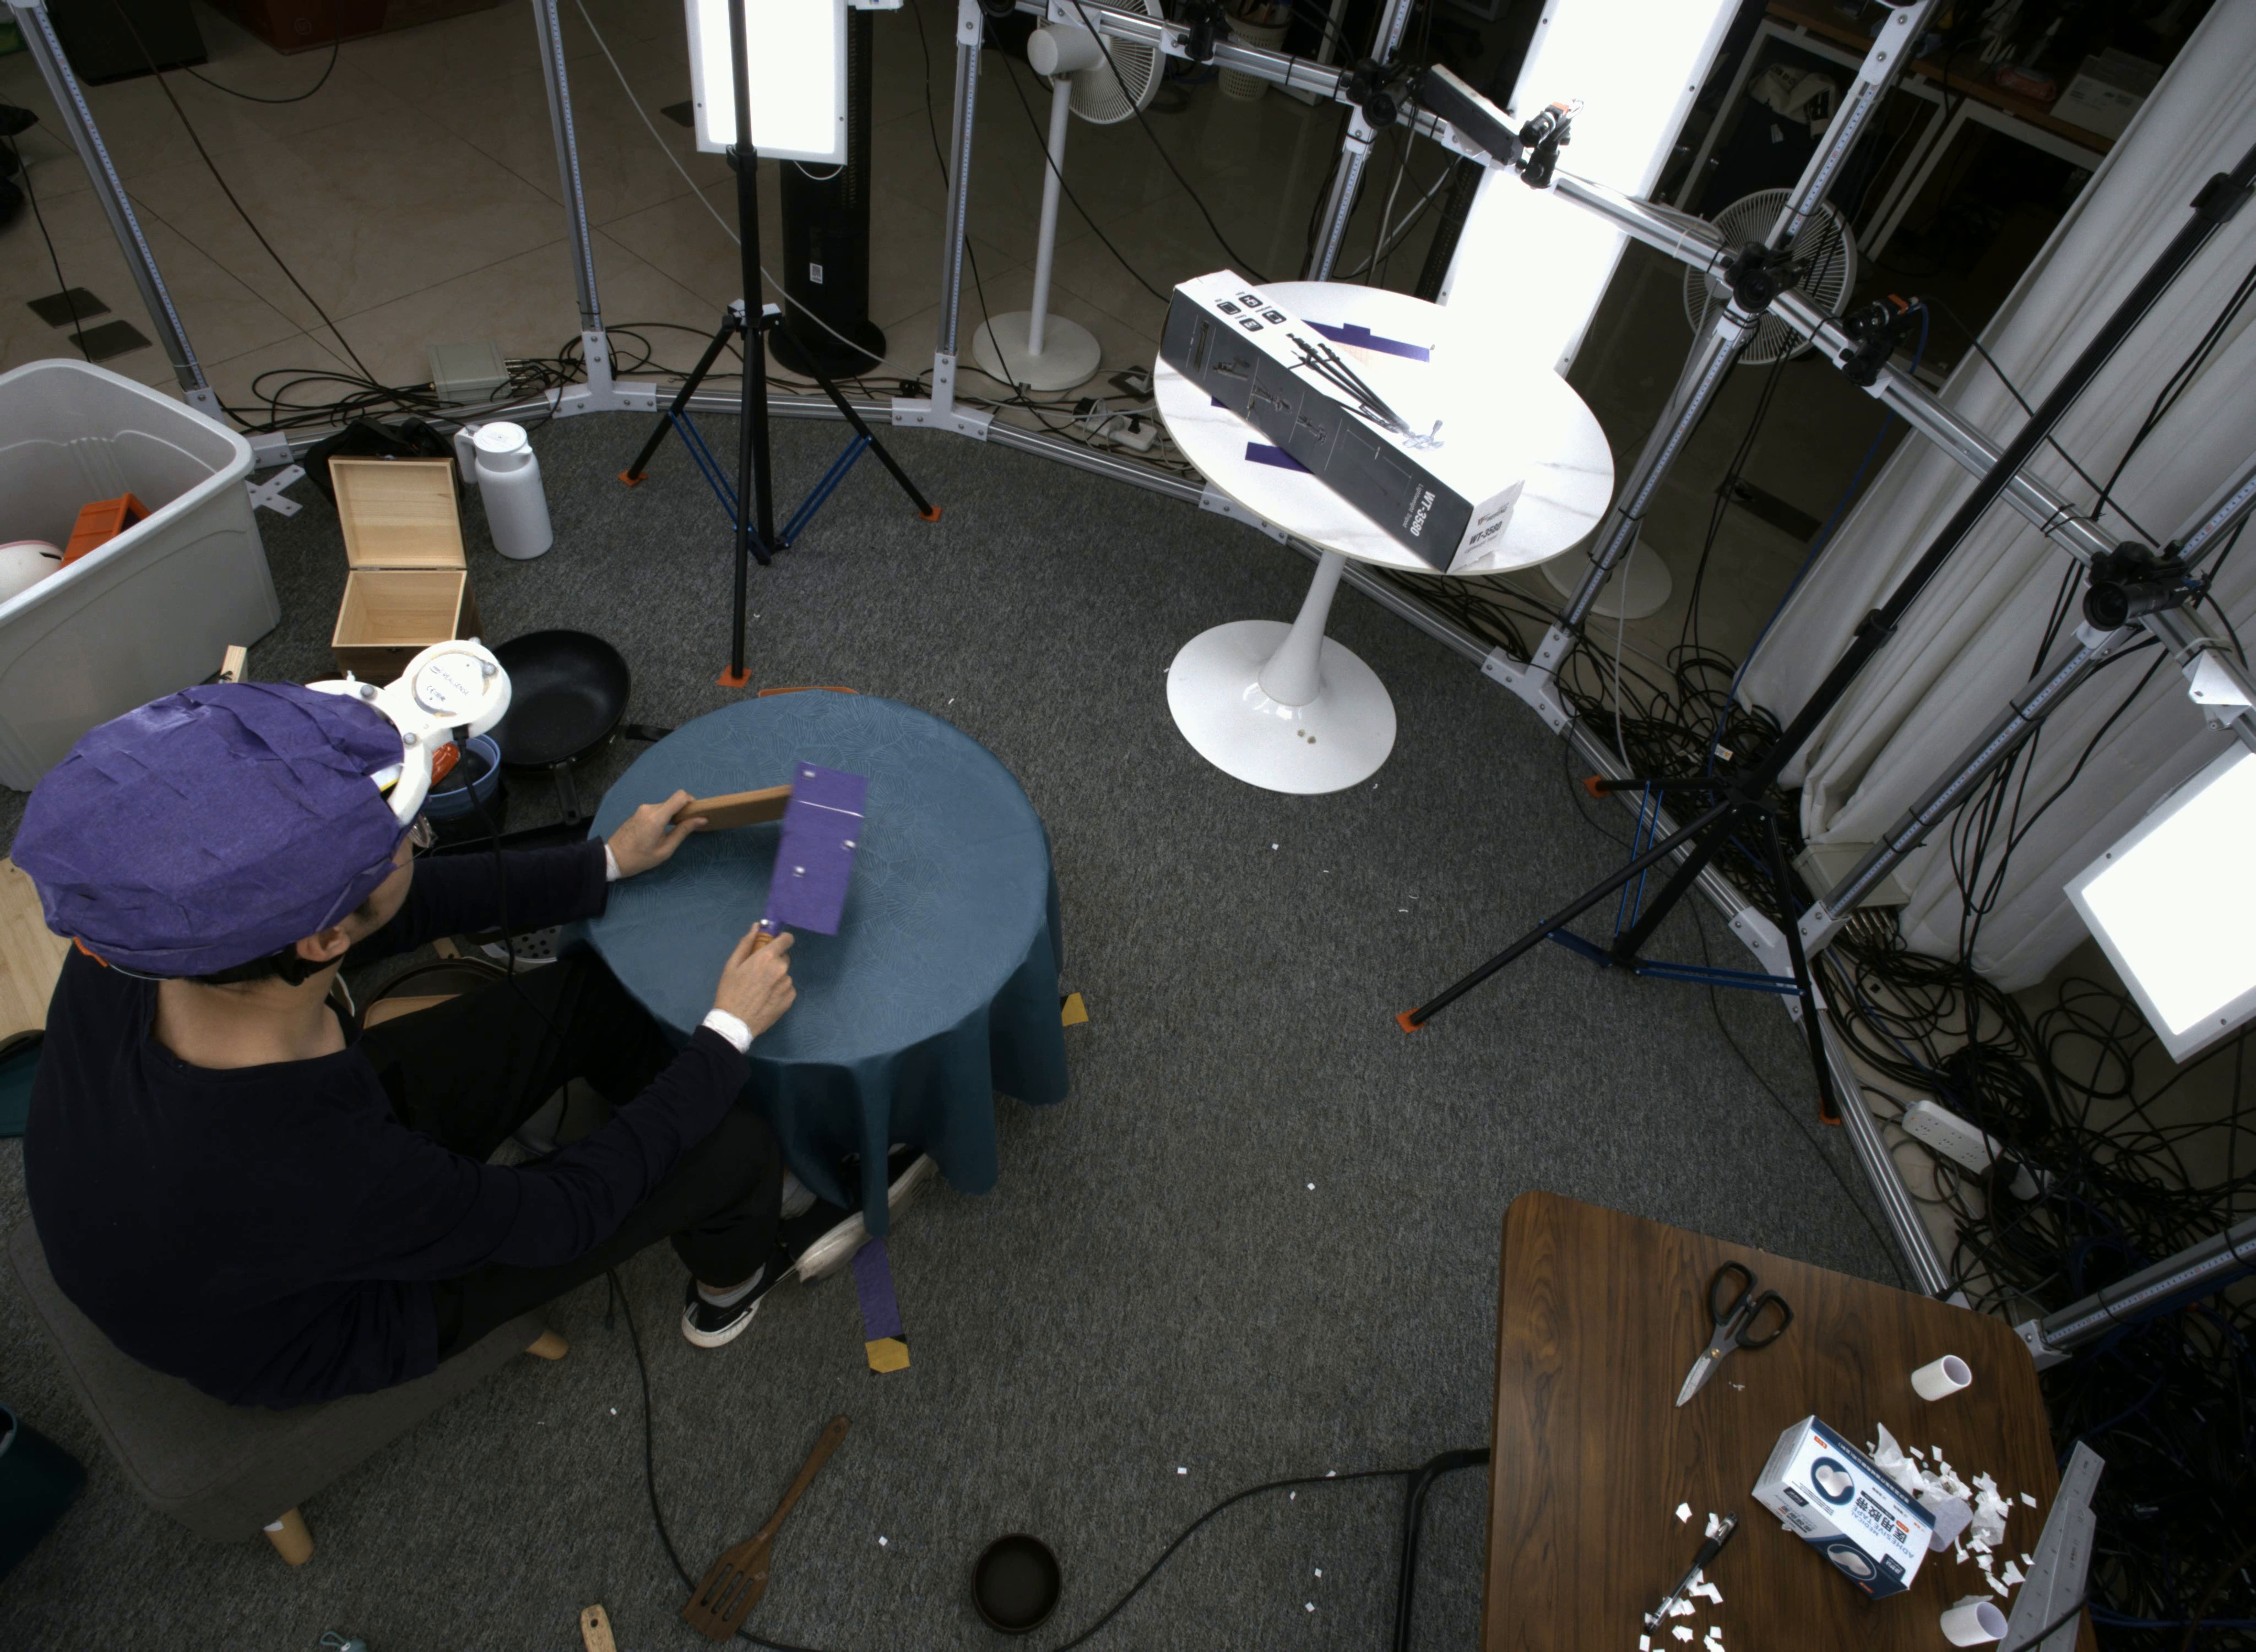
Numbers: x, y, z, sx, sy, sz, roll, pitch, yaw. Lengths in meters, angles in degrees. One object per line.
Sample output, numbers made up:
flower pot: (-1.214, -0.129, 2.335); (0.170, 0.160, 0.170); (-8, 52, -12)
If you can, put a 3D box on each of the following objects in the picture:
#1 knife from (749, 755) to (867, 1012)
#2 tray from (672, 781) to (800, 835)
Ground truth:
knife: (-0.380, 0.071, 1.564); (0.105, 0.032, 0.314); (16, 72, -23)
tray: (-0.470, -0.025, 1.664); (0.230, 0.102, 0.020); (-13, 74, -12)
